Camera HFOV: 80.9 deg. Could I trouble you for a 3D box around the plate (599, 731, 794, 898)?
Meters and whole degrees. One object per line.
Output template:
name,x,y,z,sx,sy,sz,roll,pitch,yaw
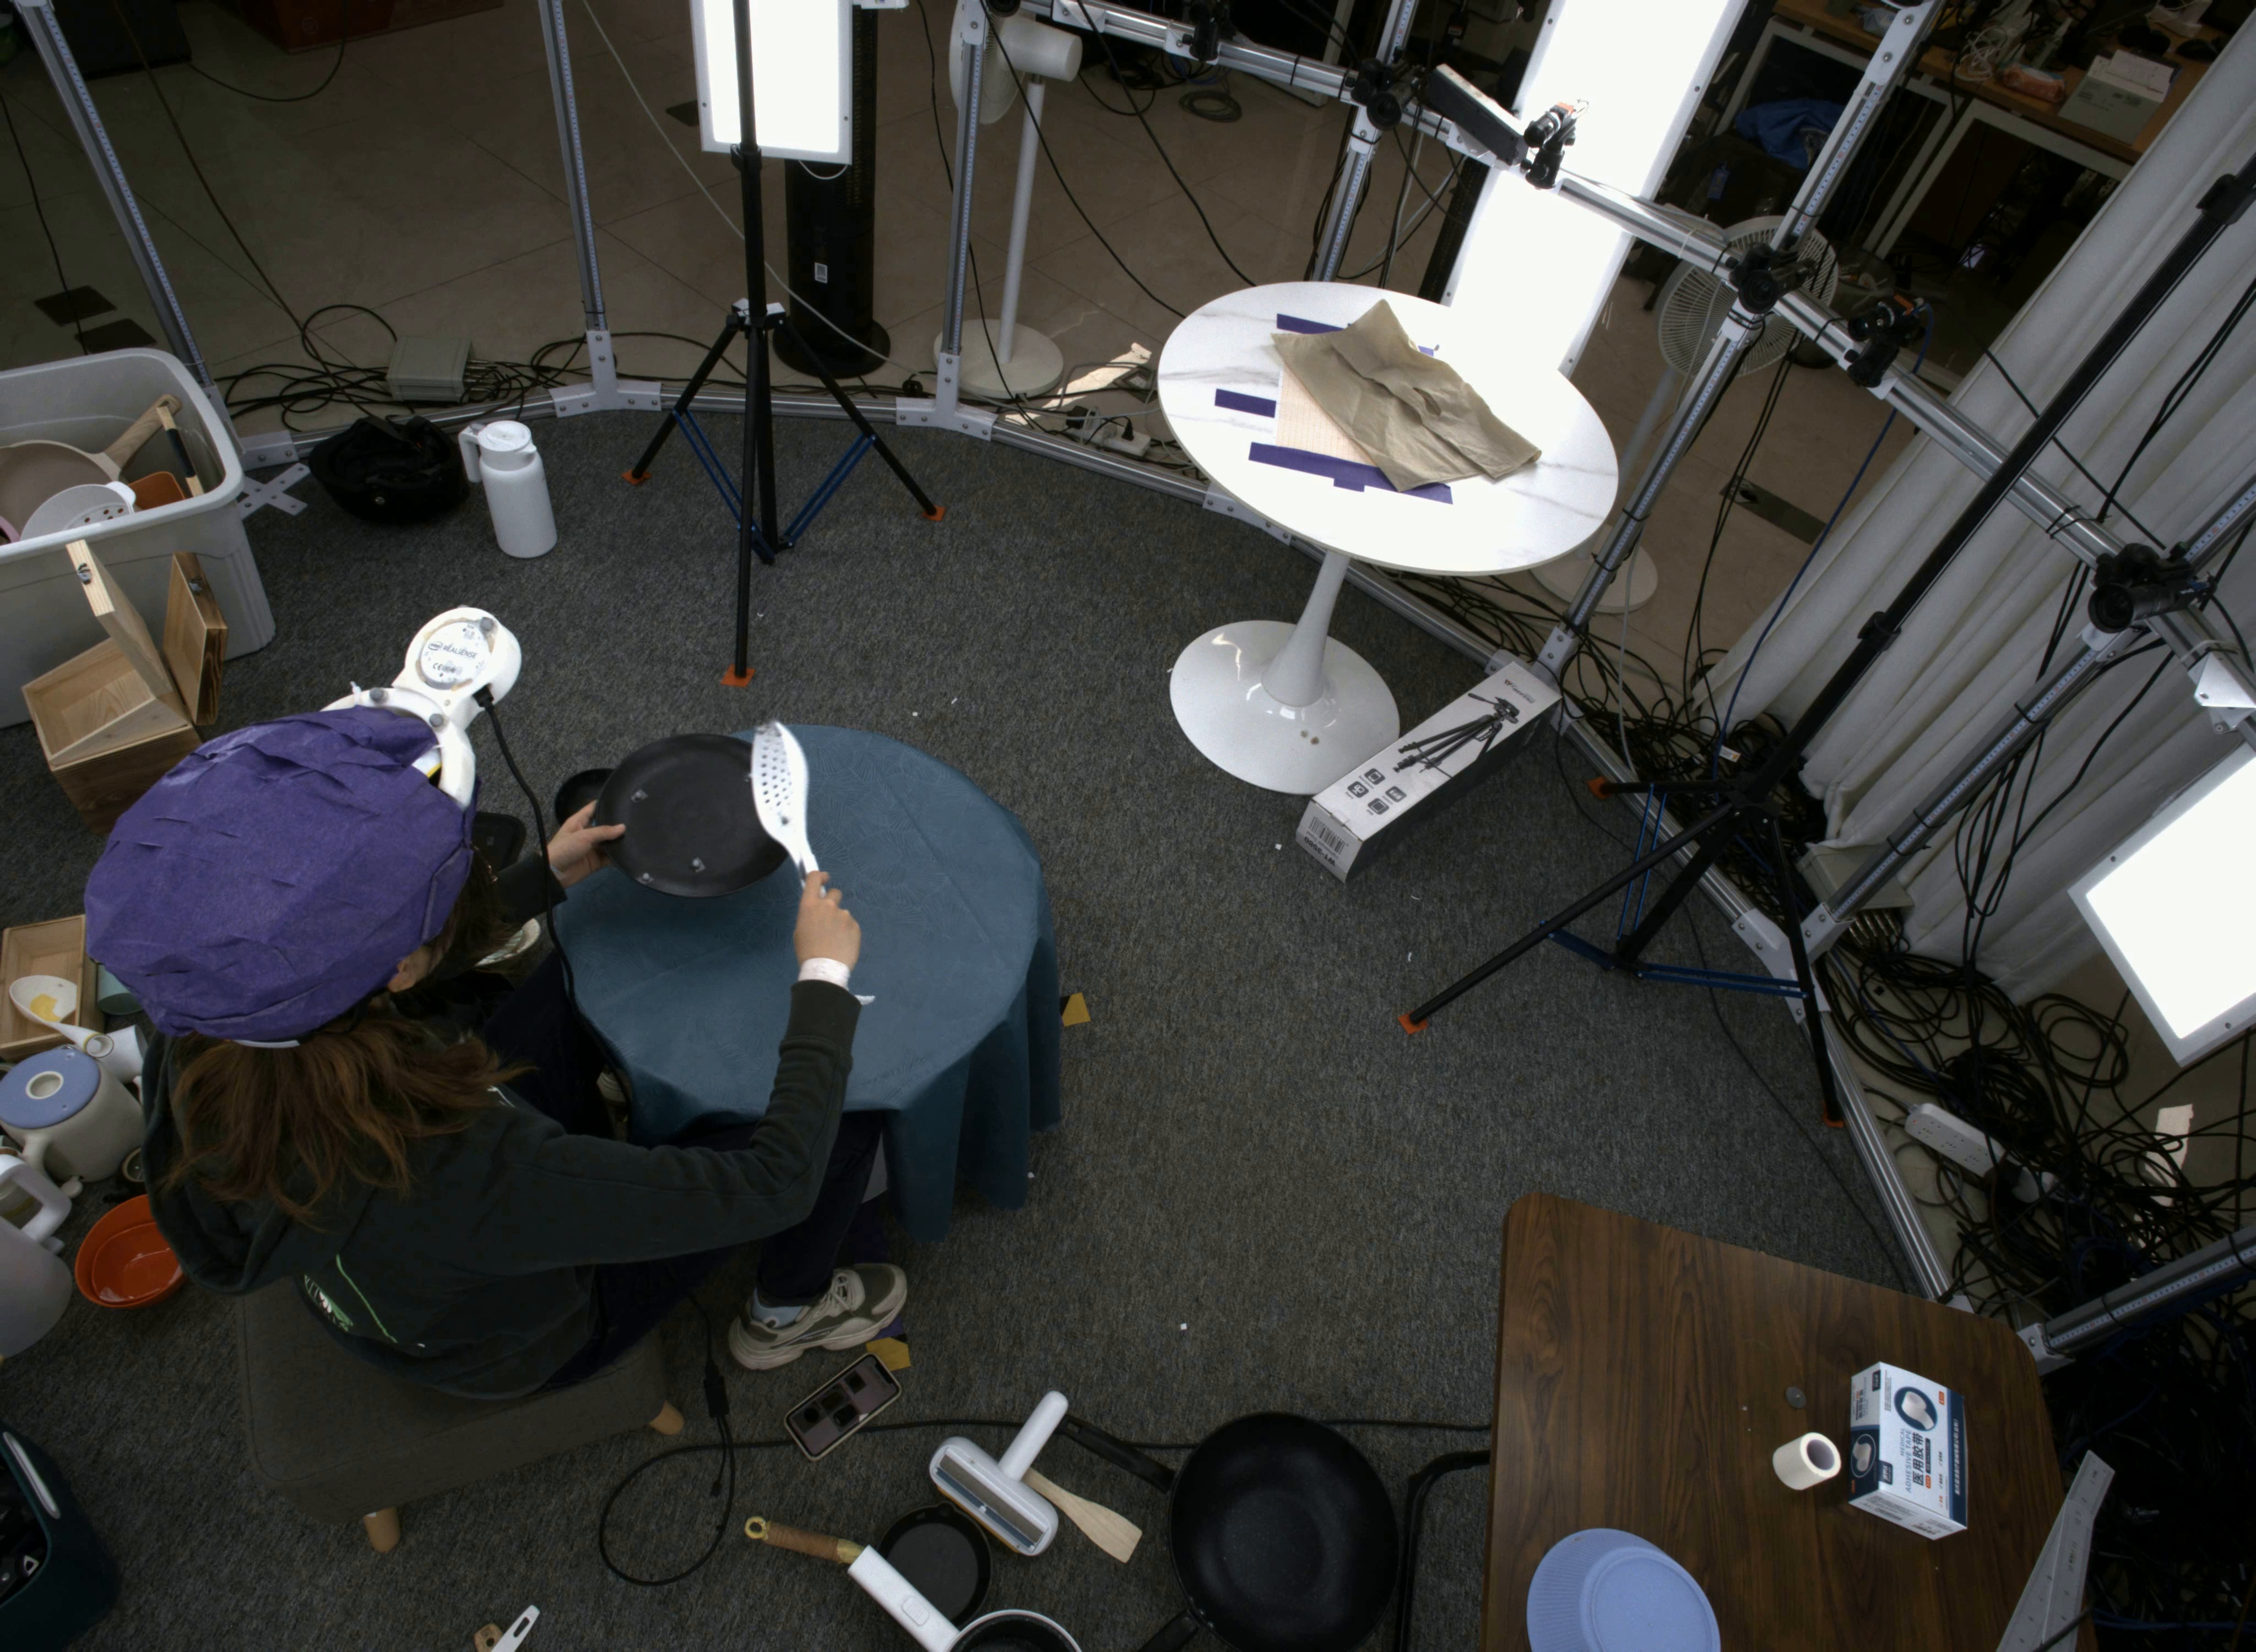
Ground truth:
plate,-0.524,-0.014,1.576,0.245,0.024,0.240,9,55,-12

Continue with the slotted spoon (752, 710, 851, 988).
slotted spoon,-0.364,0.022,1.439,0.046,0.137,0.342,-2,56,-30
